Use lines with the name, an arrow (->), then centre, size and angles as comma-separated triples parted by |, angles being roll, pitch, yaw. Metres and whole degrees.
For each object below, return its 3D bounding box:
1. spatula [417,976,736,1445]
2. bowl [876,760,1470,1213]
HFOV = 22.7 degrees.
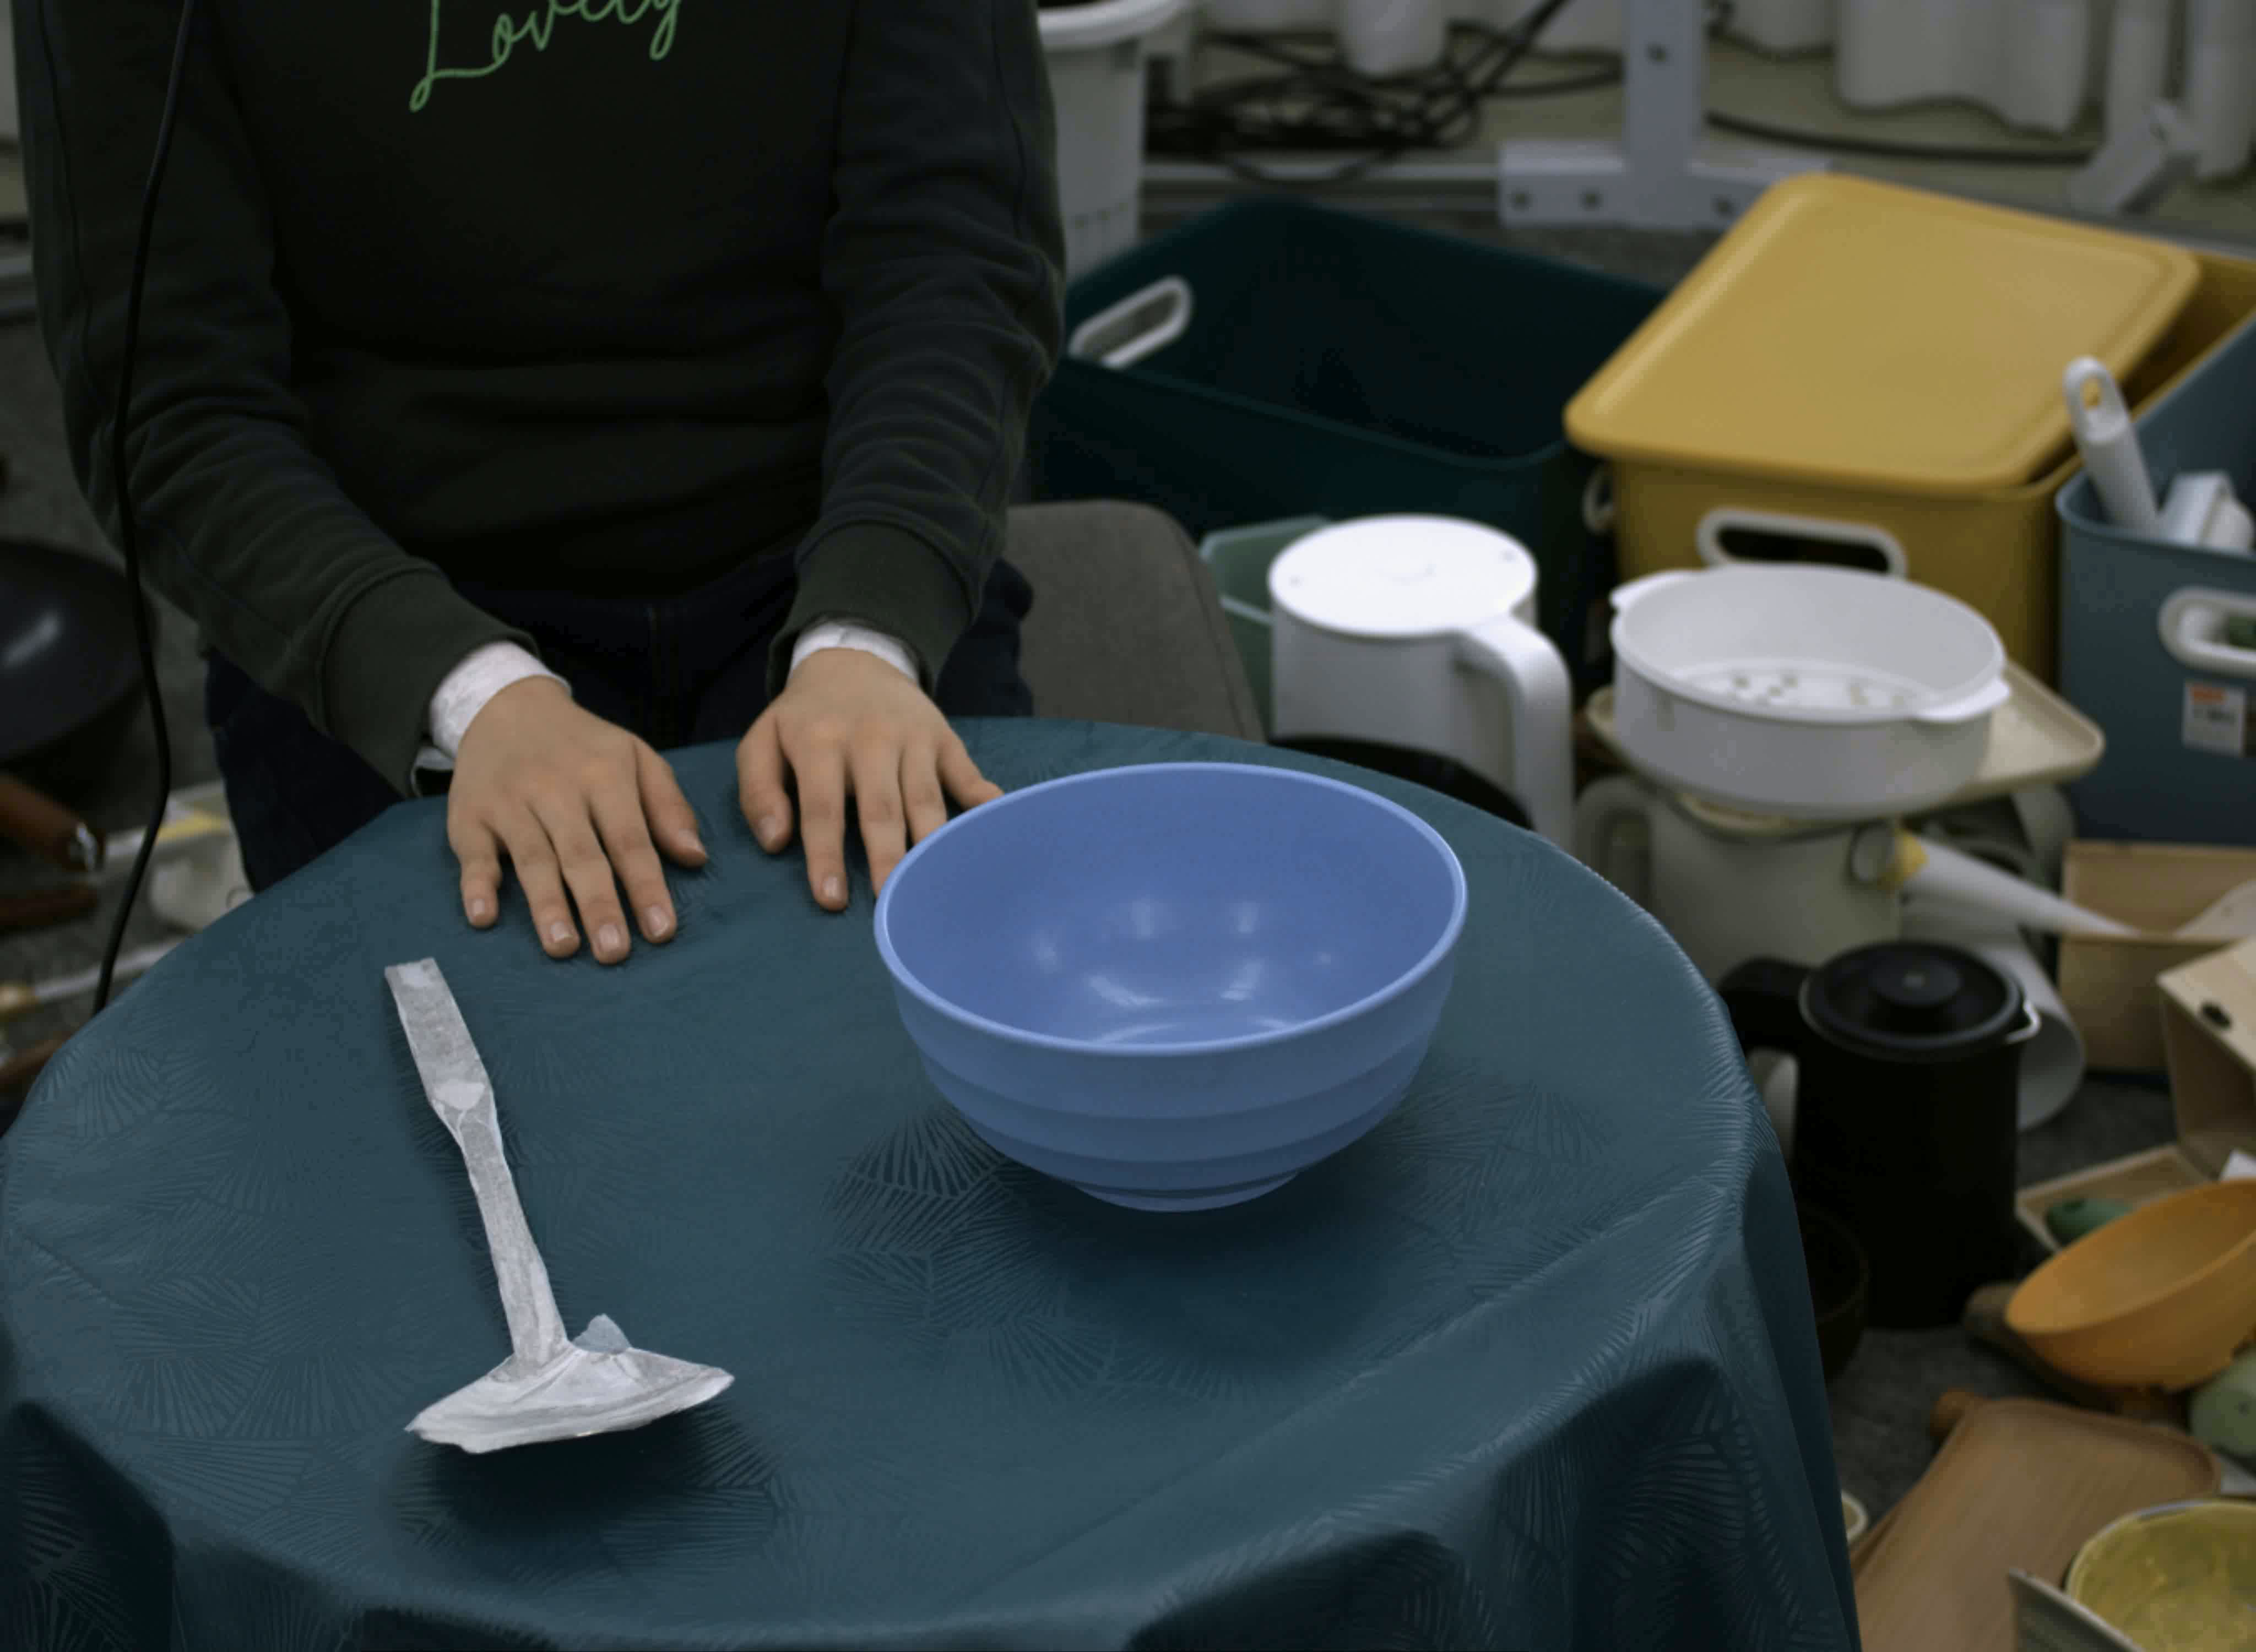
spatula -> -0.204, 0.118, 1.846 | 0.098, 0.044, 0.369 | -11, 28, -11
bowl -> 0.018, 0.064, 1.867 | 0.195, 0.094, 0.199 | -3, 28, 2
